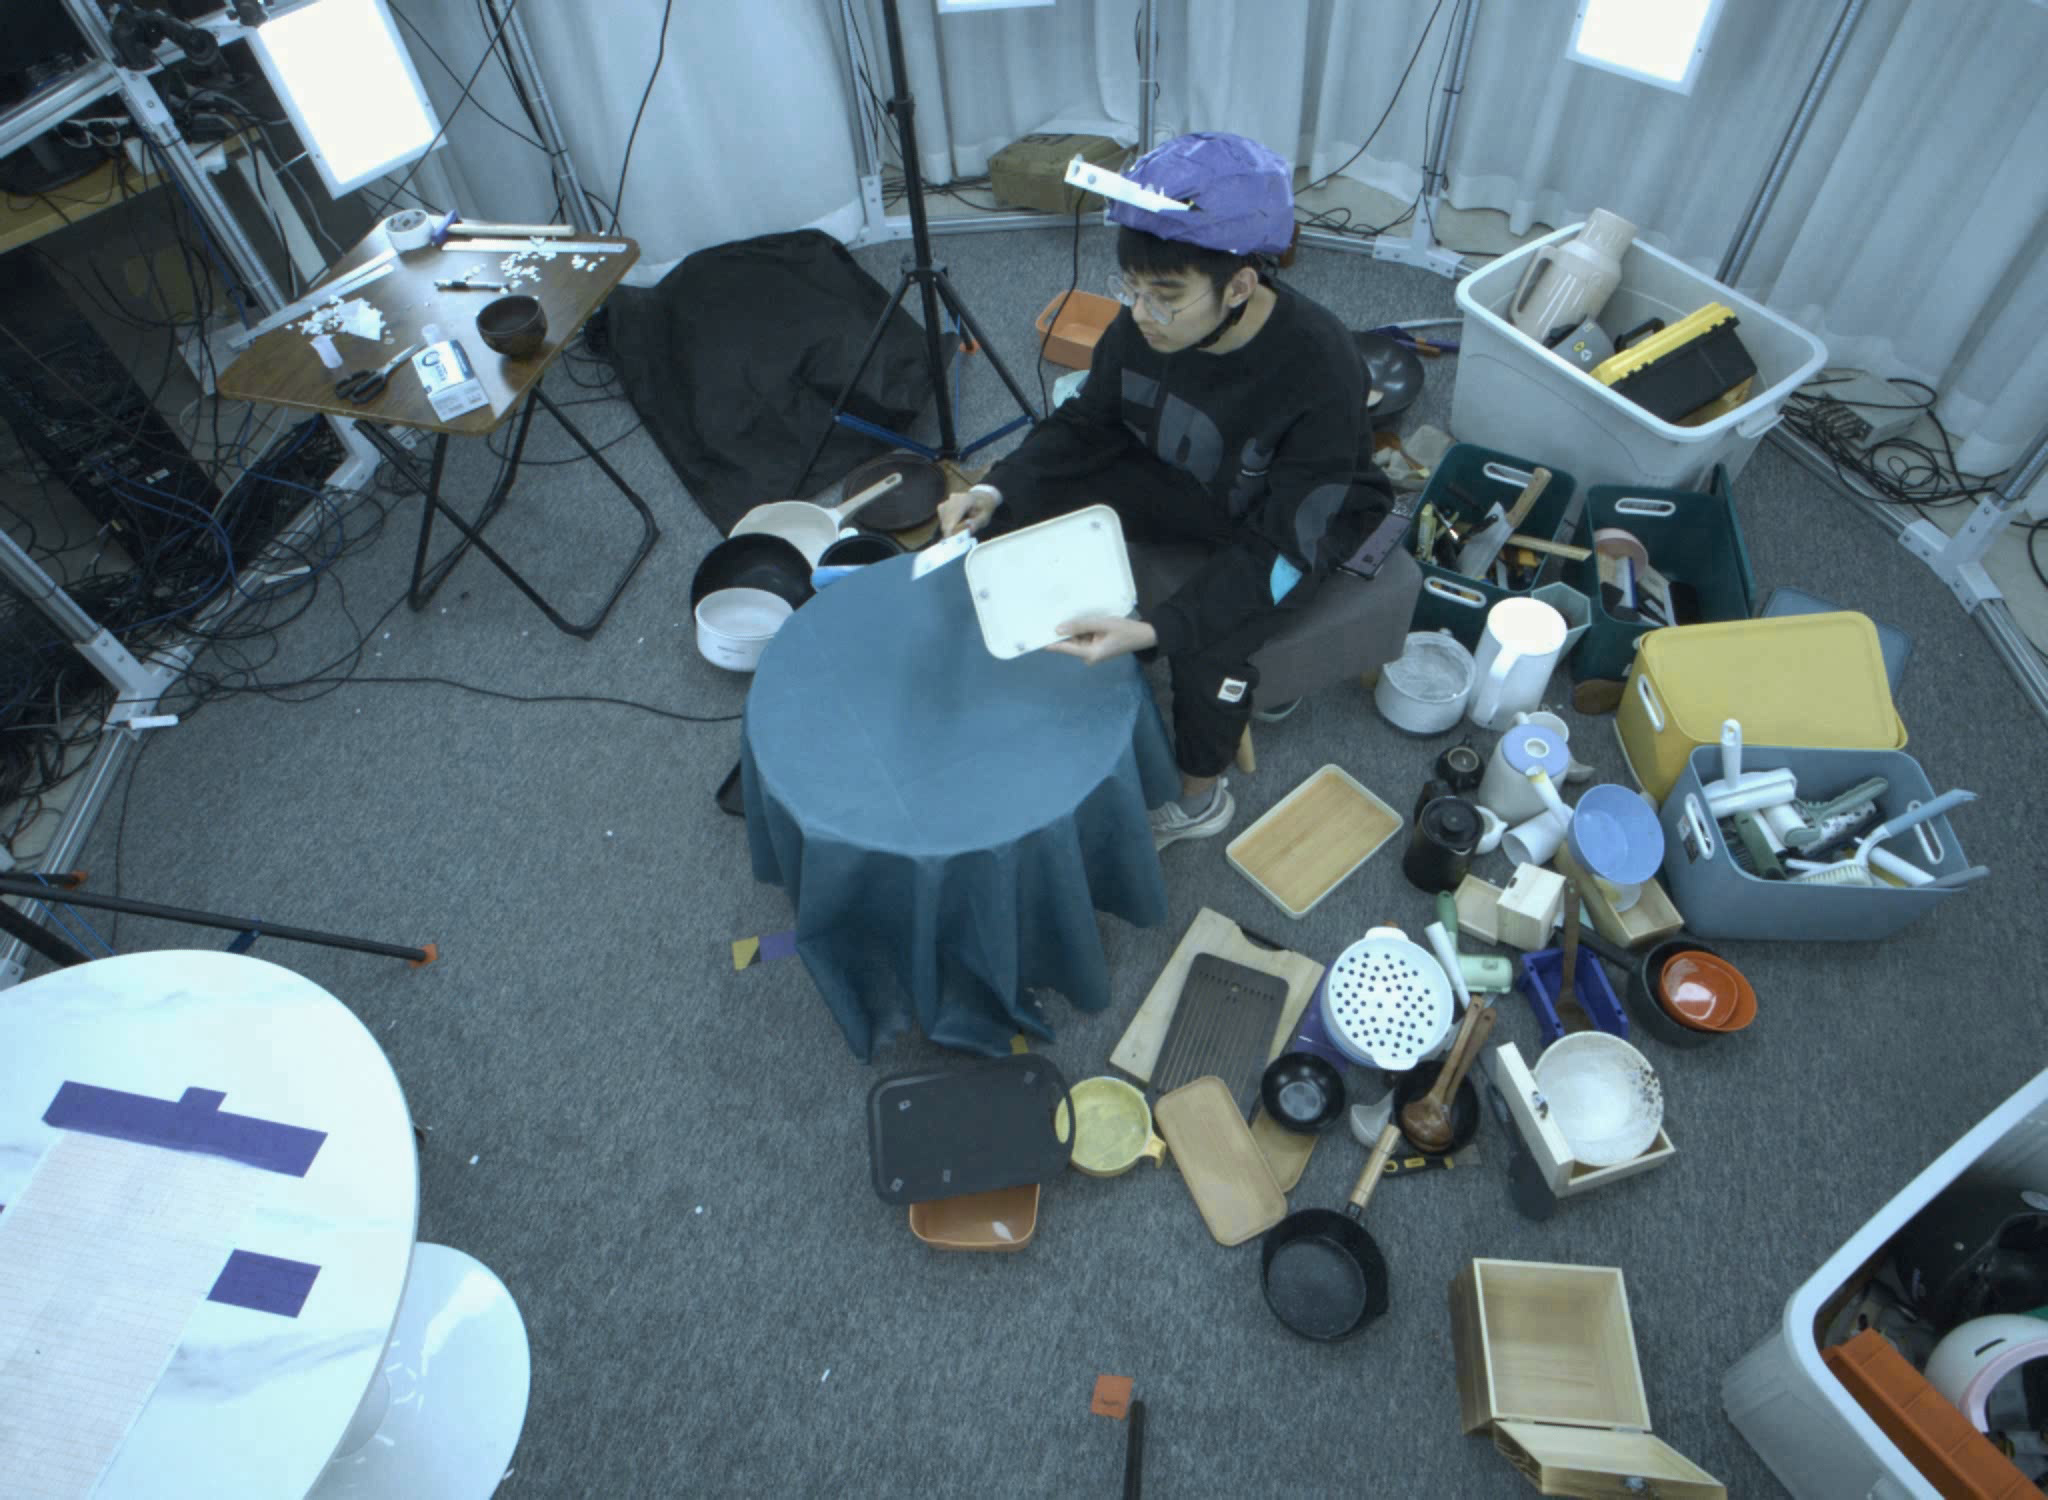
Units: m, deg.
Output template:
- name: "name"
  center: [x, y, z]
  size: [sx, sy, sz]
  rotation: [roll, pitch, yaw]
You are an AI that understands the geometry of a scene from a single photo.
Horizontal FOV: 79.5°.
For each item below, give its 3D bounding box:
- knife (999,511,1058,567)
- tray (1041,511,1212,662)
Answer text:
- name: "knife"
  center: [0.003, -0.312, 1.818]
  size: [0.092, 0.021, 0.303]
  rotation: [-25, 18, 7]
- name: "tray"
  center: [0.145, -0.231, 1.725]
  size: [0.242, 0.173, 0.017]
  rotation: [-18, 21, -14]
